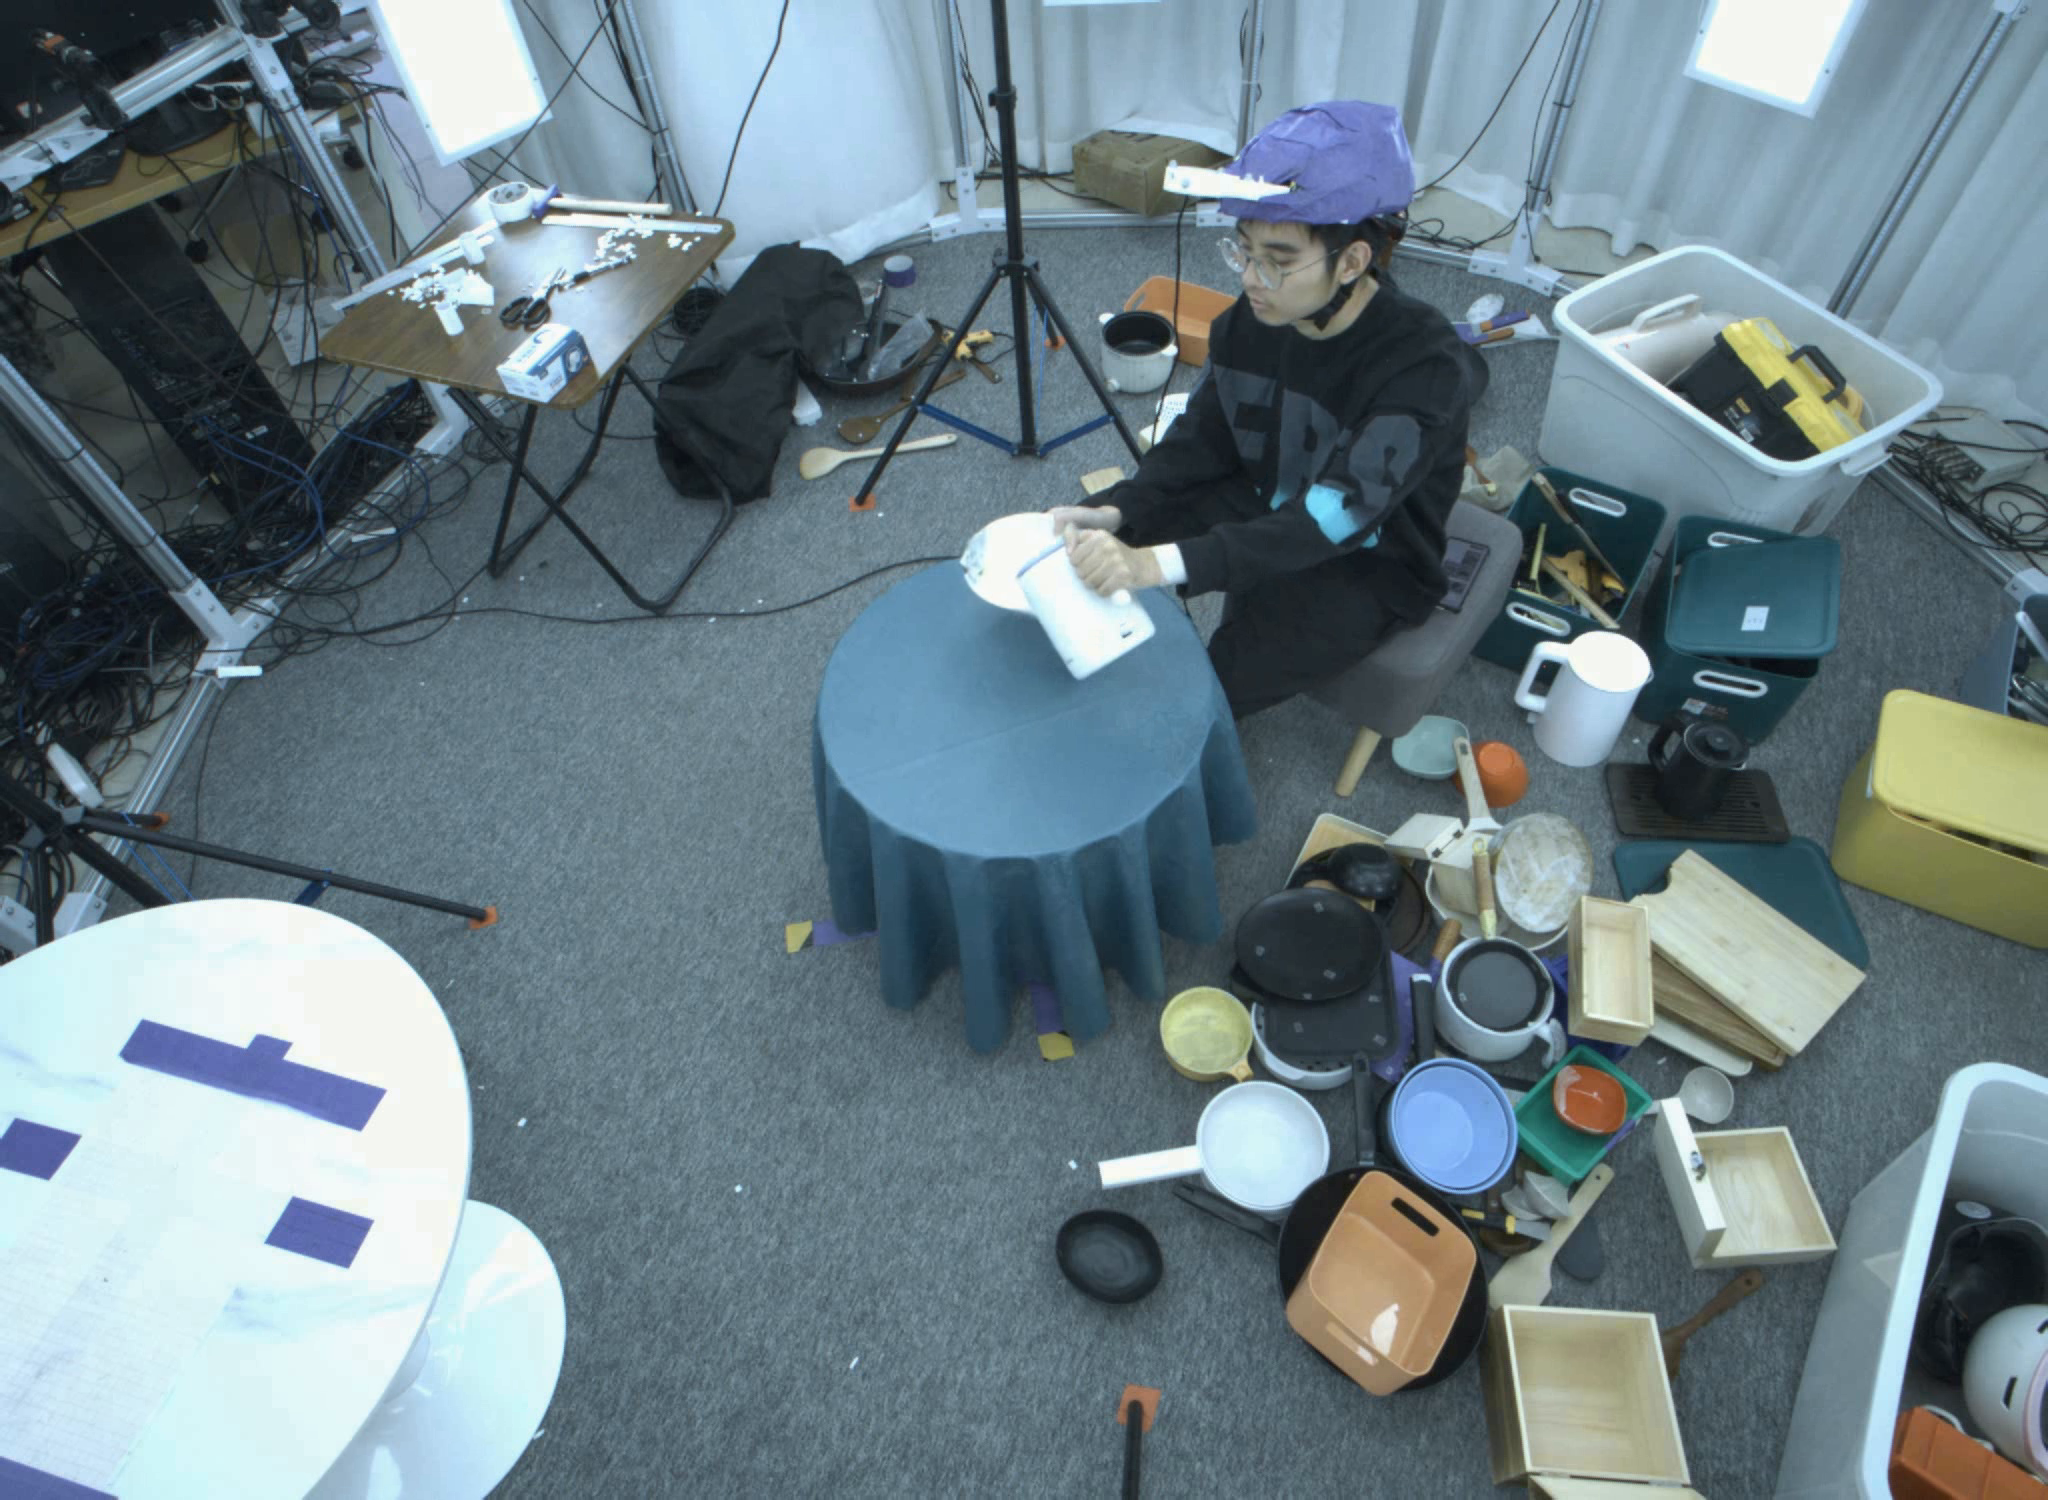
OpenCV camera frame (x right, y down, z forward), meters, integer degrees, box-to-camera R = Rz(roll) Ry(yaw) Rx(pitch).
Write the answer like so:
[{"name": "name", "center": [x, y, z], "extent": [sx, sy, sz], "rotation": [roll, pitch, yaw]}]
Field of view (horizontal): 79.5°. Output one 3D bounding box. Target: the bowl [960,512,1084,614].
[{"name": "bowl", "center": [0.006, -0.262, 1.853], "extent": [0.204, 0.078, 0.202], "rotation": [1, 54, 0]}]

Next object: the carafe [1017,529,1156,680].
[{"name": "carafe", "center": [0.093, -0.202, 1.661], "extent": [0.133, 0.189, 0.183], "rotation": [-34, 96, -21]}]
